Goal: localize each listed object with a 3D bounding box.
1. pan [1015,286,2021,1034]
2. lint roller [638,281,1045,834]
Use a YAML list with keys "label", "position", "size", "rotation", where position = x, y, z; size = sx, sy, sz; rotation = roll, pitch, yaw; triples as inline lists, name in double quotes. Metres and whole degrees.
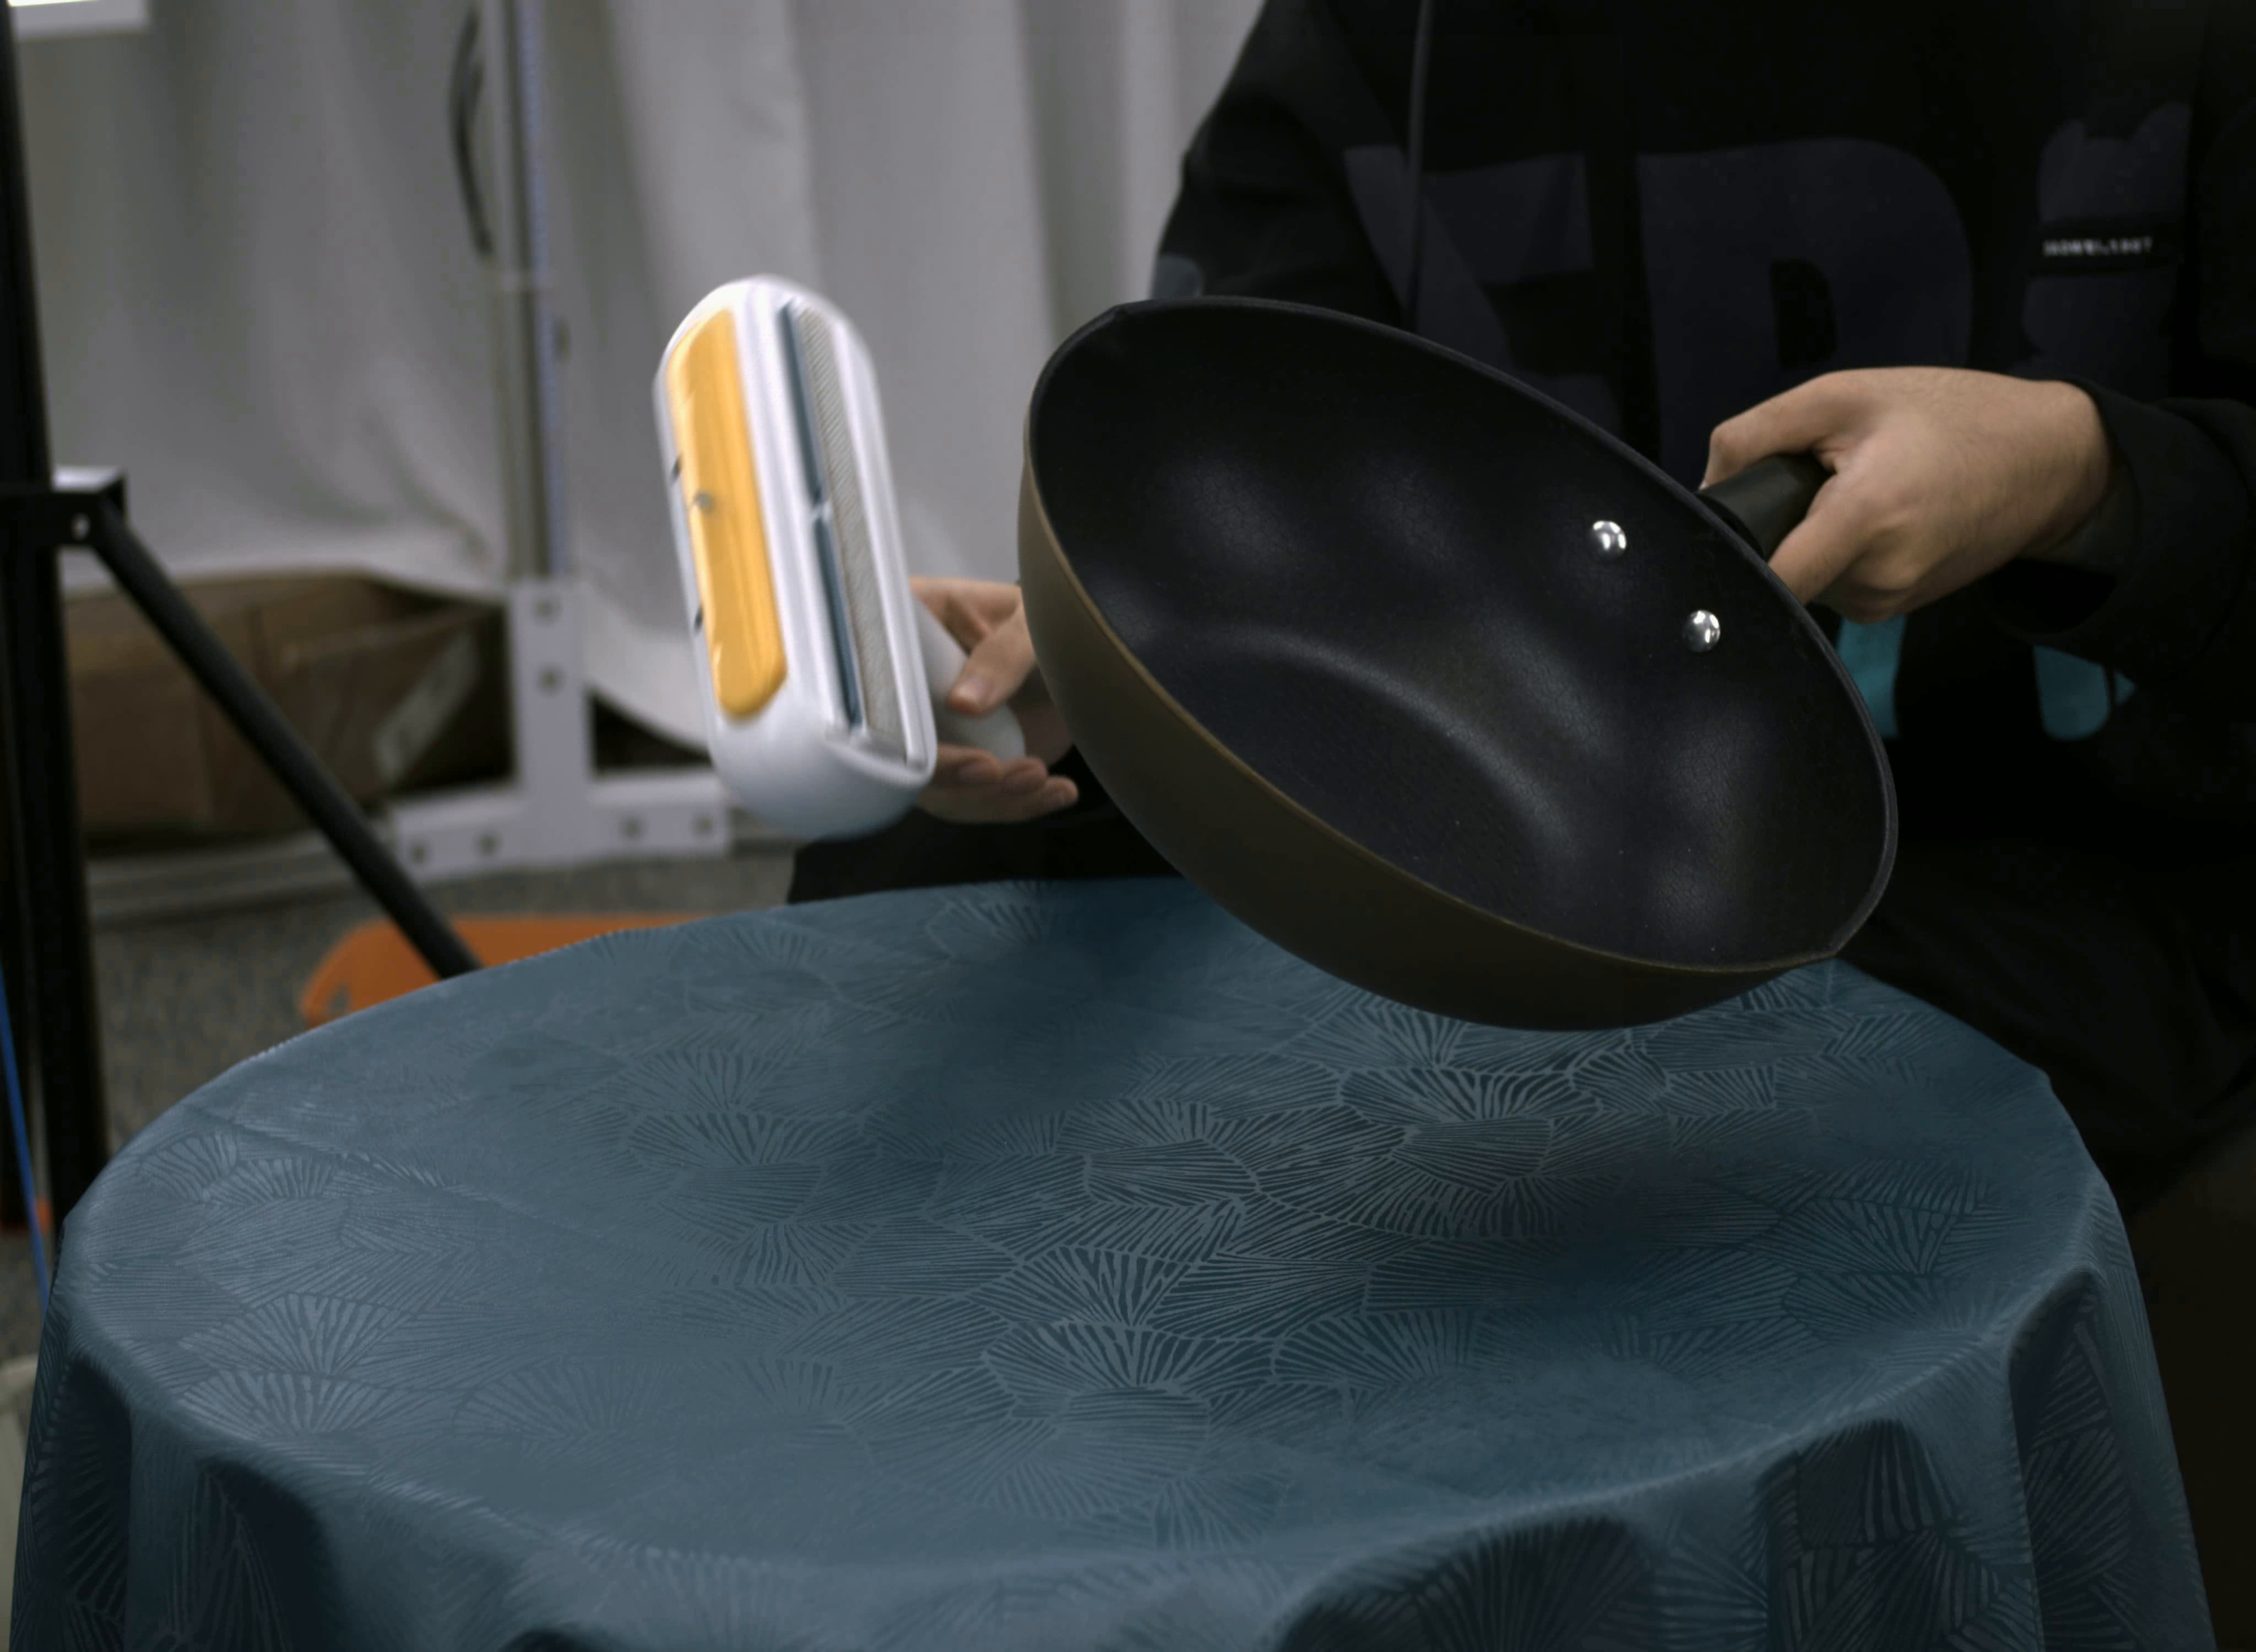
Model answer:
- label: "pan"
  position: [0.133, -0.056, 1.597]
  size: [0.292, 0.087, 0.454]
  rotation: [43, 35, 19]
- label: "lint roller"
  position: [-0.077, -0.060, 1.710]
  size: [0.075, 0.196, 0.187]
  rotation: [-34, -41, 24]
